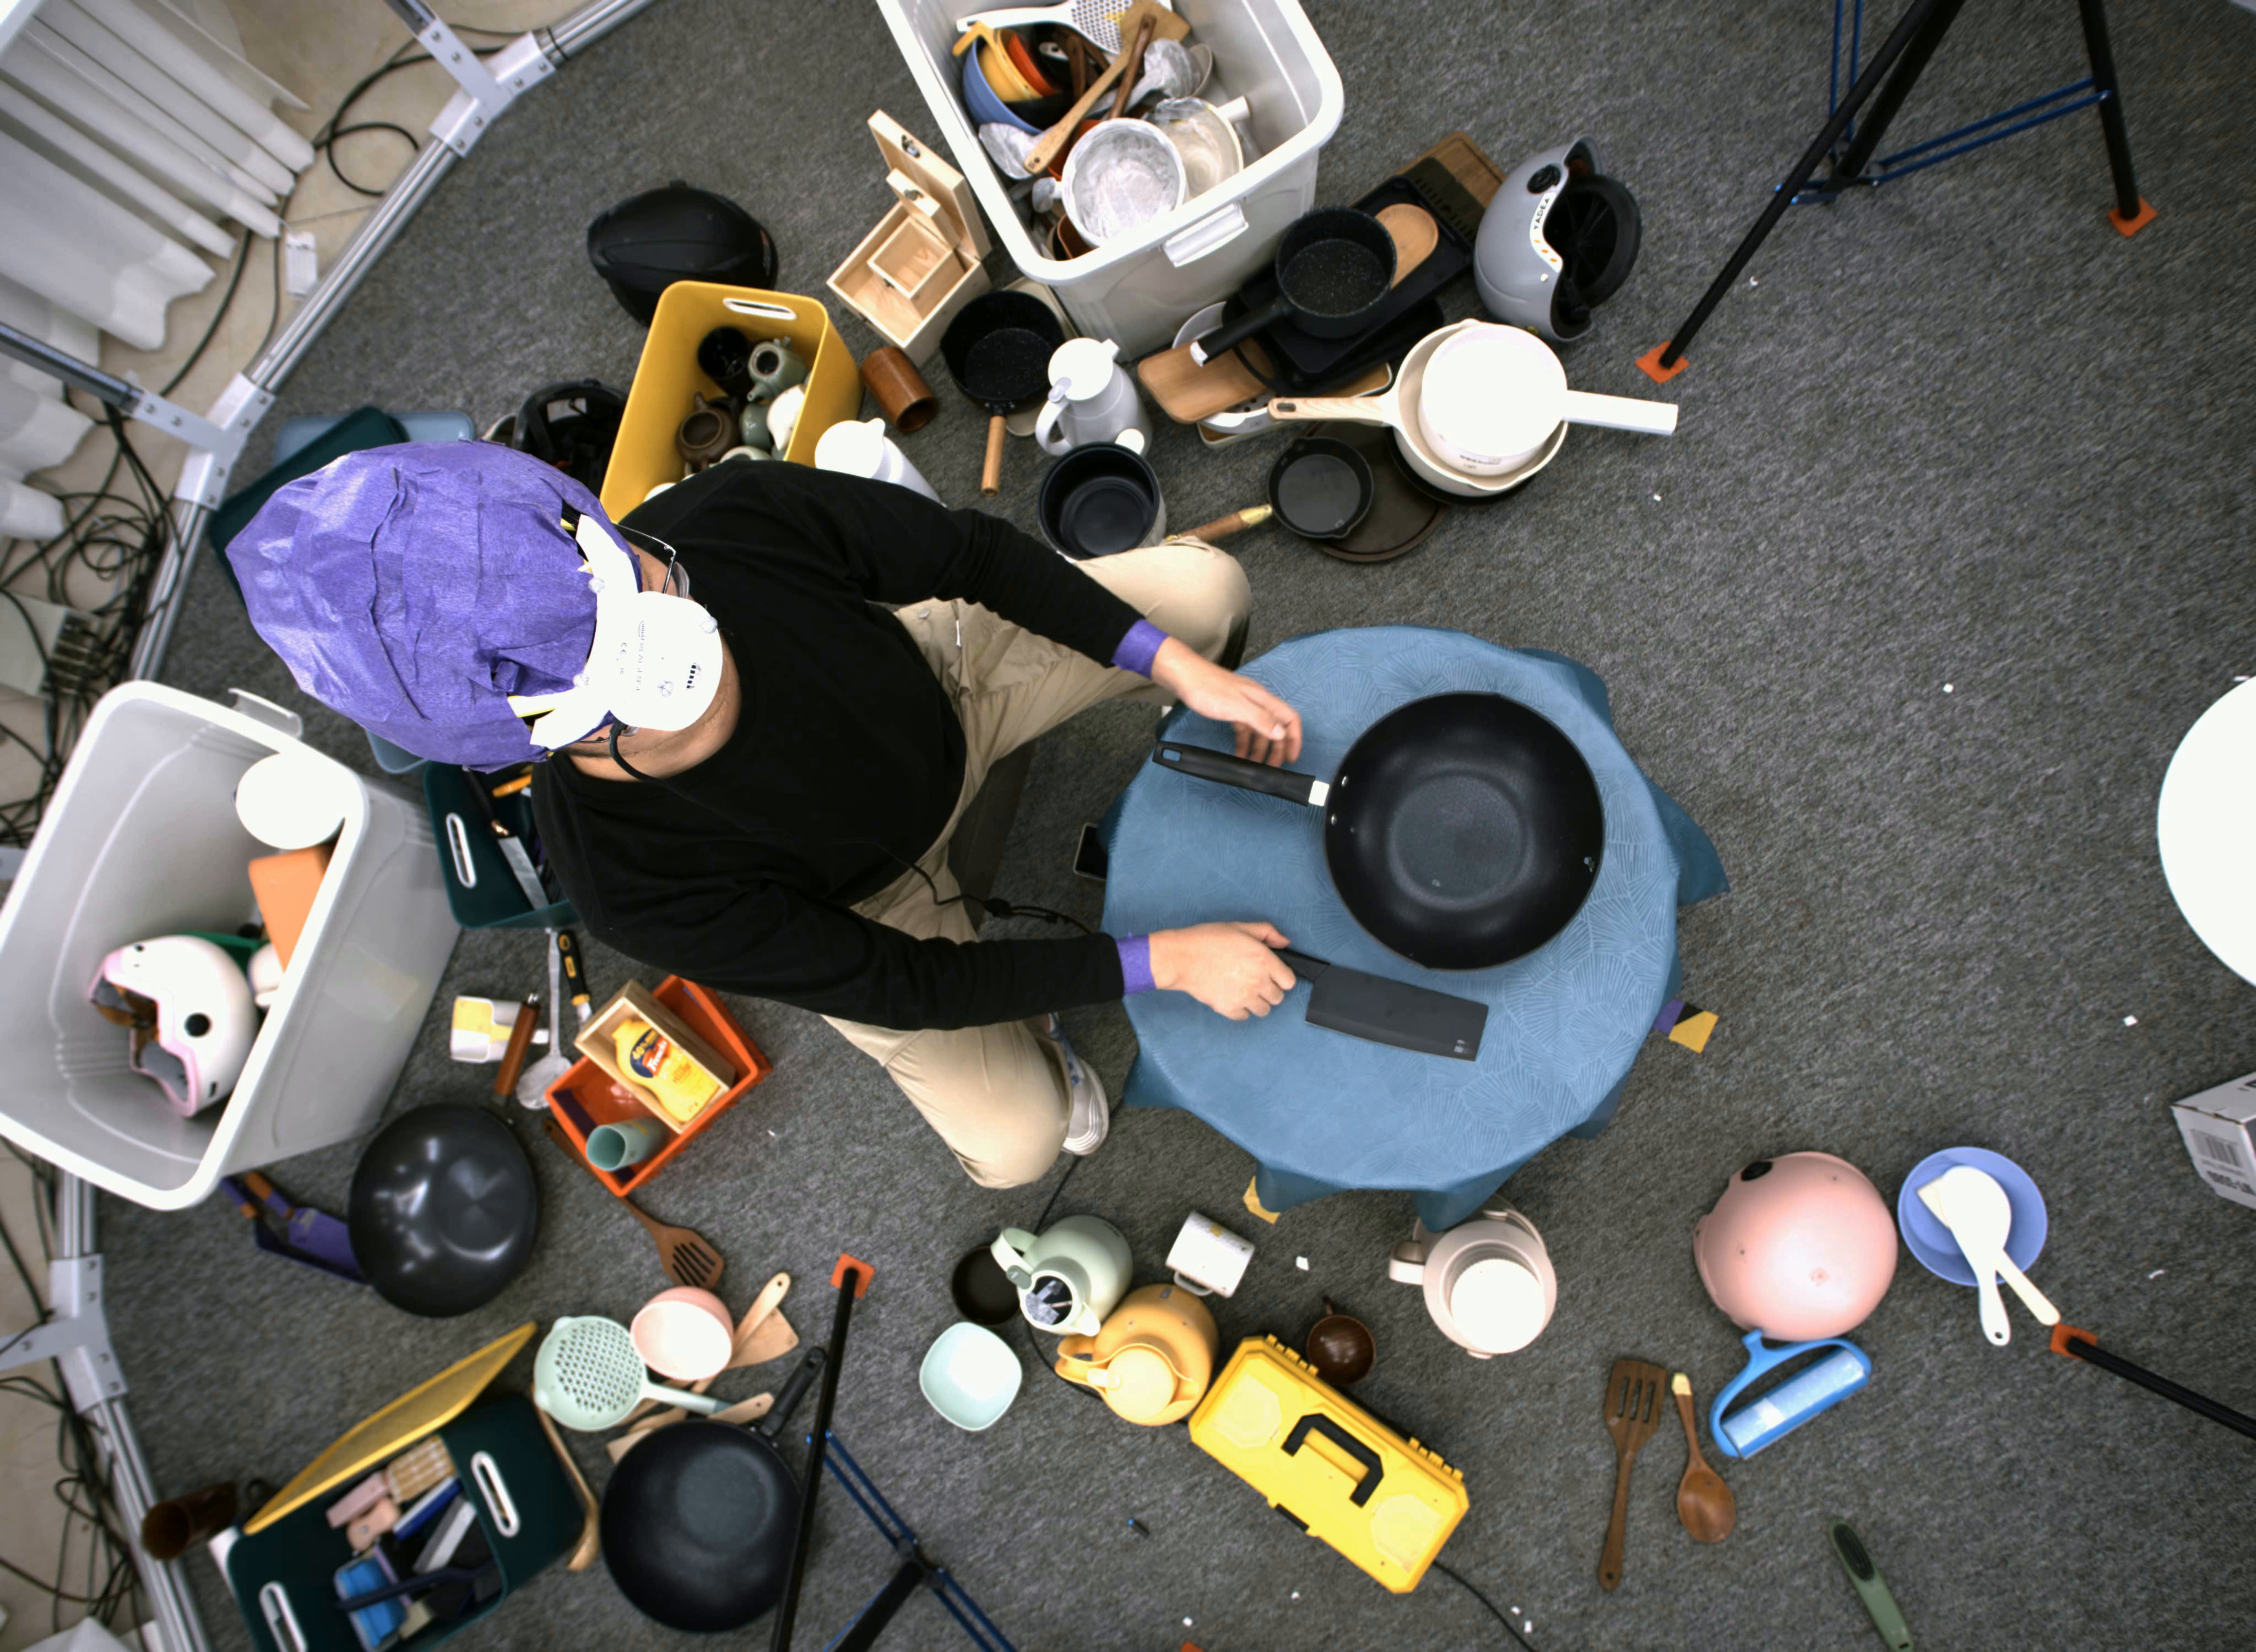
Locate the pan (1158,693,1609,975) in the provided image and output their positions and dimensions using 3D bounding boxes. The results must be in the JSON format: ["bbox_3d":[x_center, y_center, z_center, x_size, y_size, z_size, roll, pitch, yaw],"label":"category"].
[{"bbox_3d":[0.256,-0.016,1.427,0.464,0.087,0.288,16,90,12],"label":"pan"}]

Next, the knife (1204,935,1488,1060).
[{"bbox_3d":[0.227,0.176,1.457,0.302,0.021,0.081,19,90,9],"label":"knife"}]
